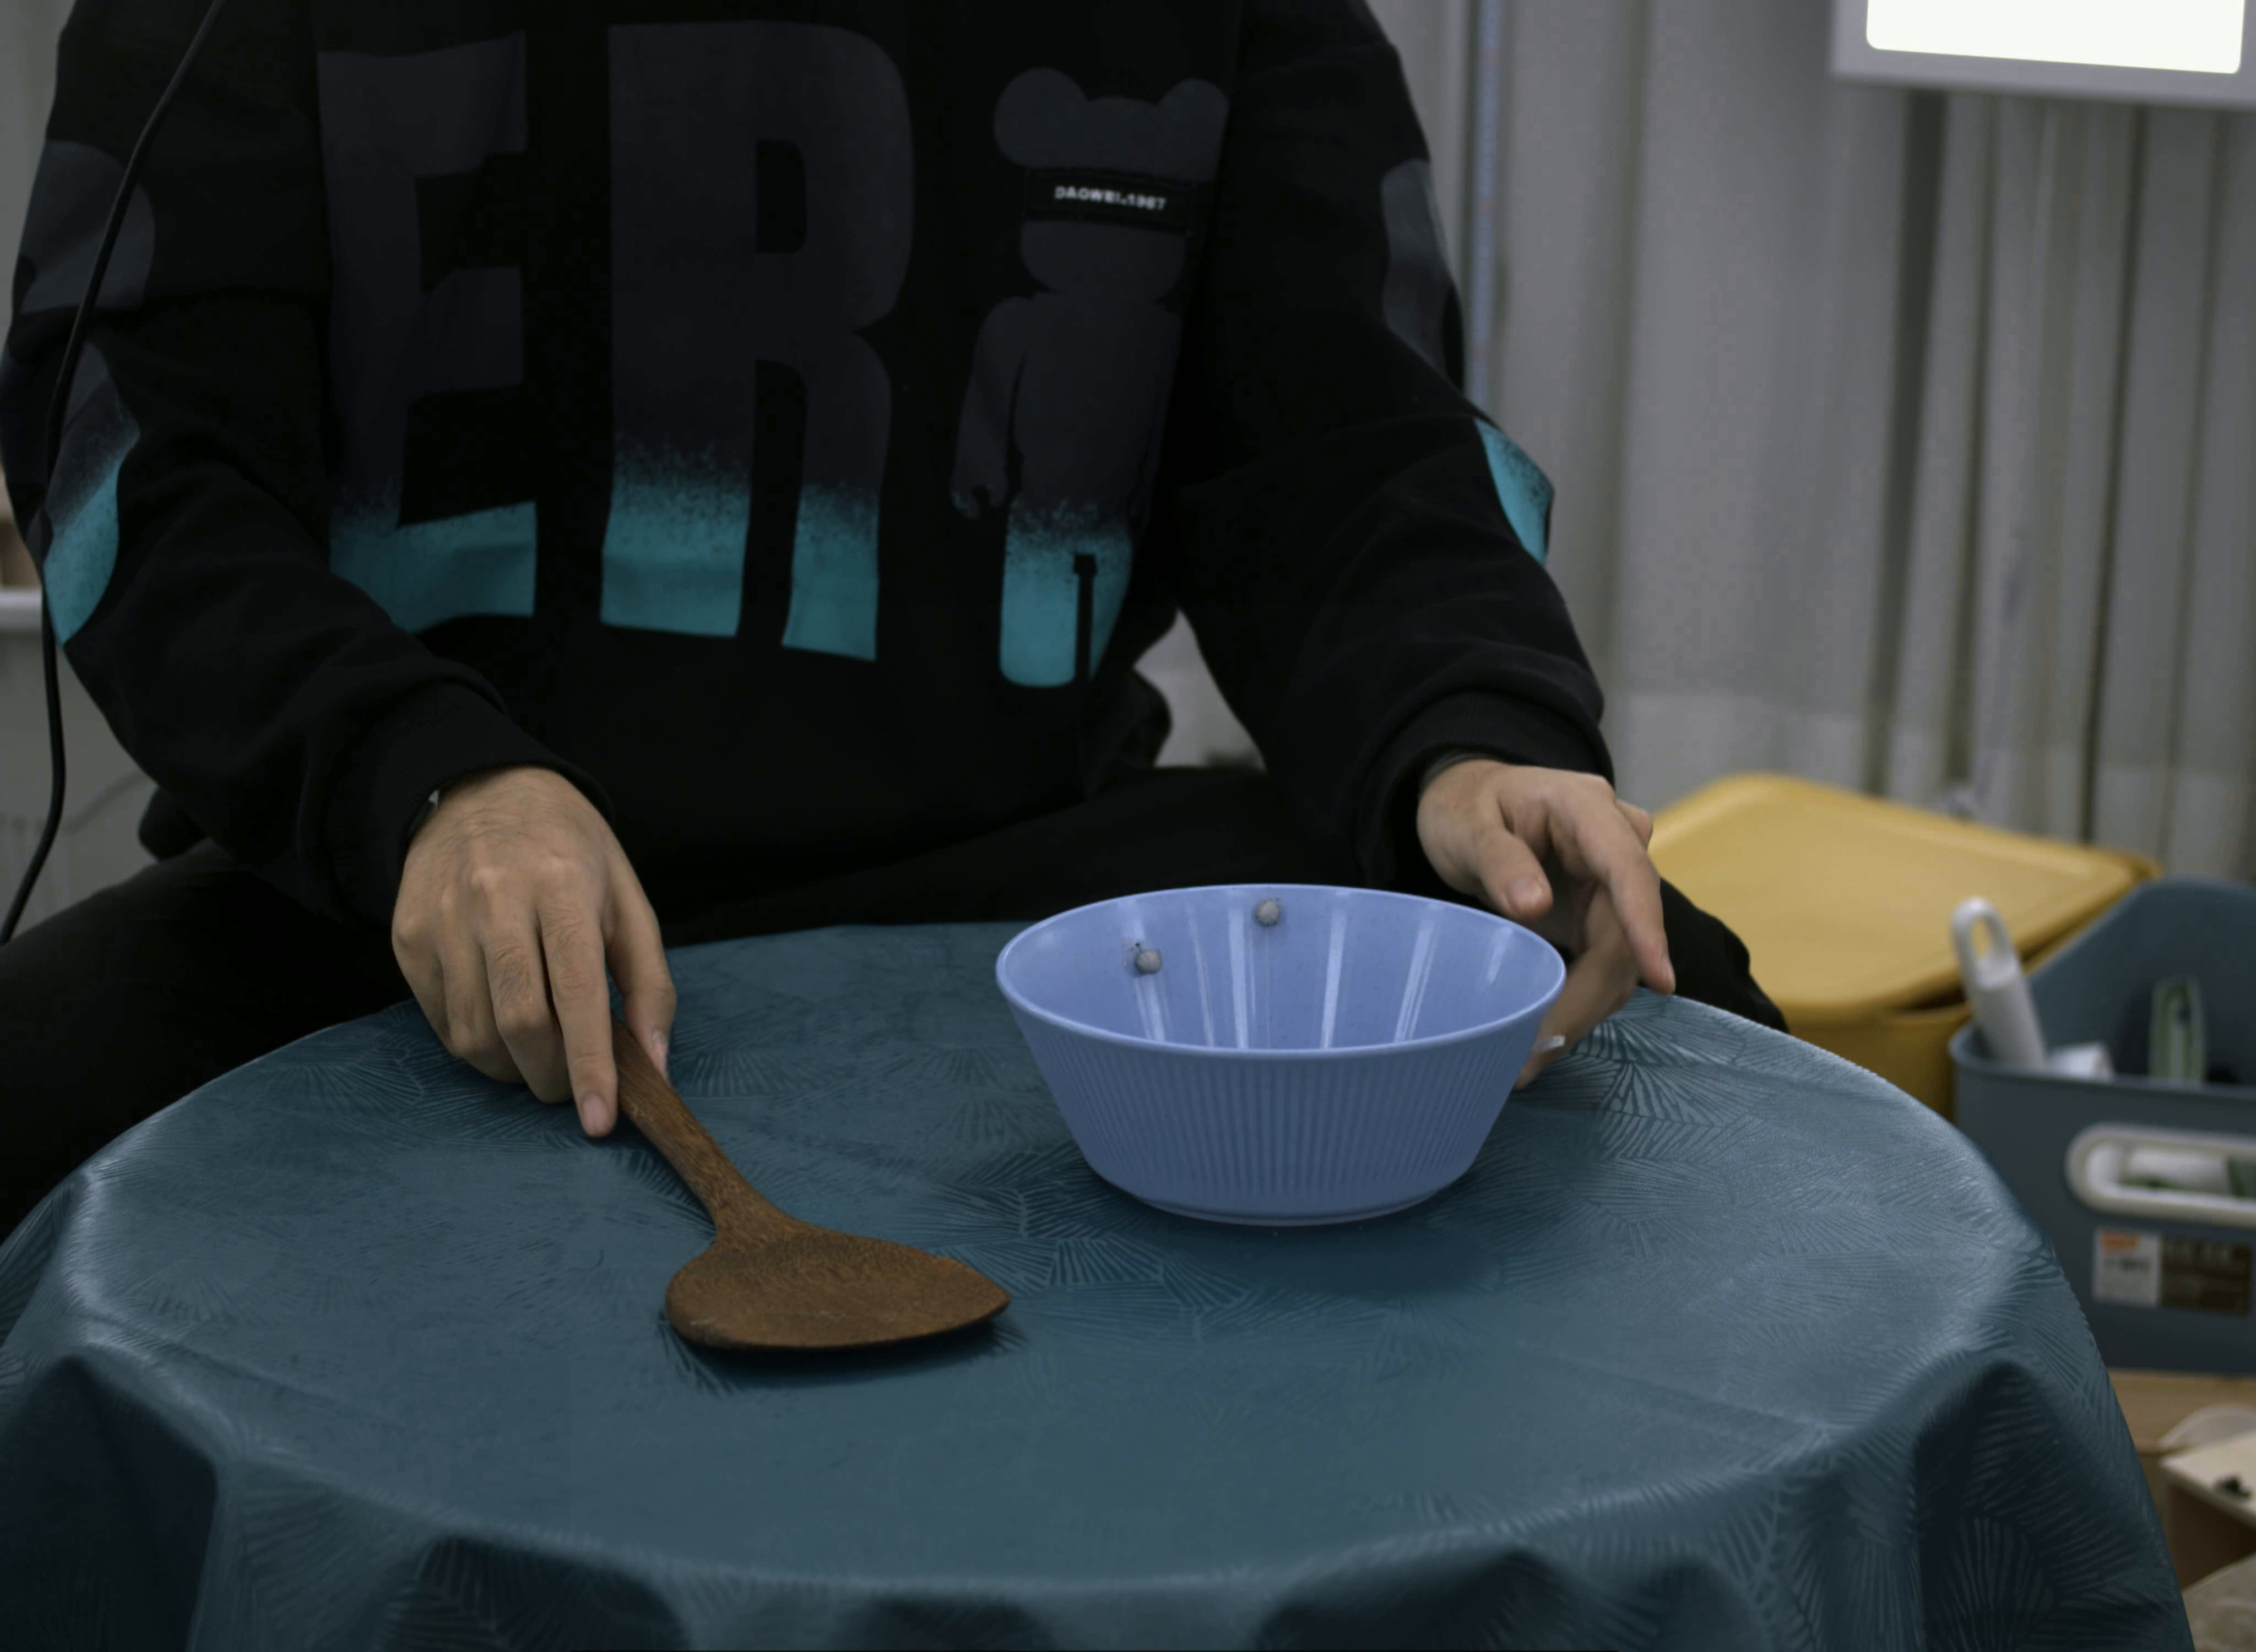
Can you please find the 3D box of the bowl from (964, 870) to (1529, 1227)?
[{"bbox_3d":[0.036,0.072,1.637,0.175,0.071,0.175,1,19,0],"label":"bowl"}]

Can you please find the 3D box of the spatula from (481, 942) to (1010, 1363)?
[{"bbox_3d":[-0.142,0.095,1.644,0.096,0.016,0.381,-5,19,-22],"label":"spatula"}]
